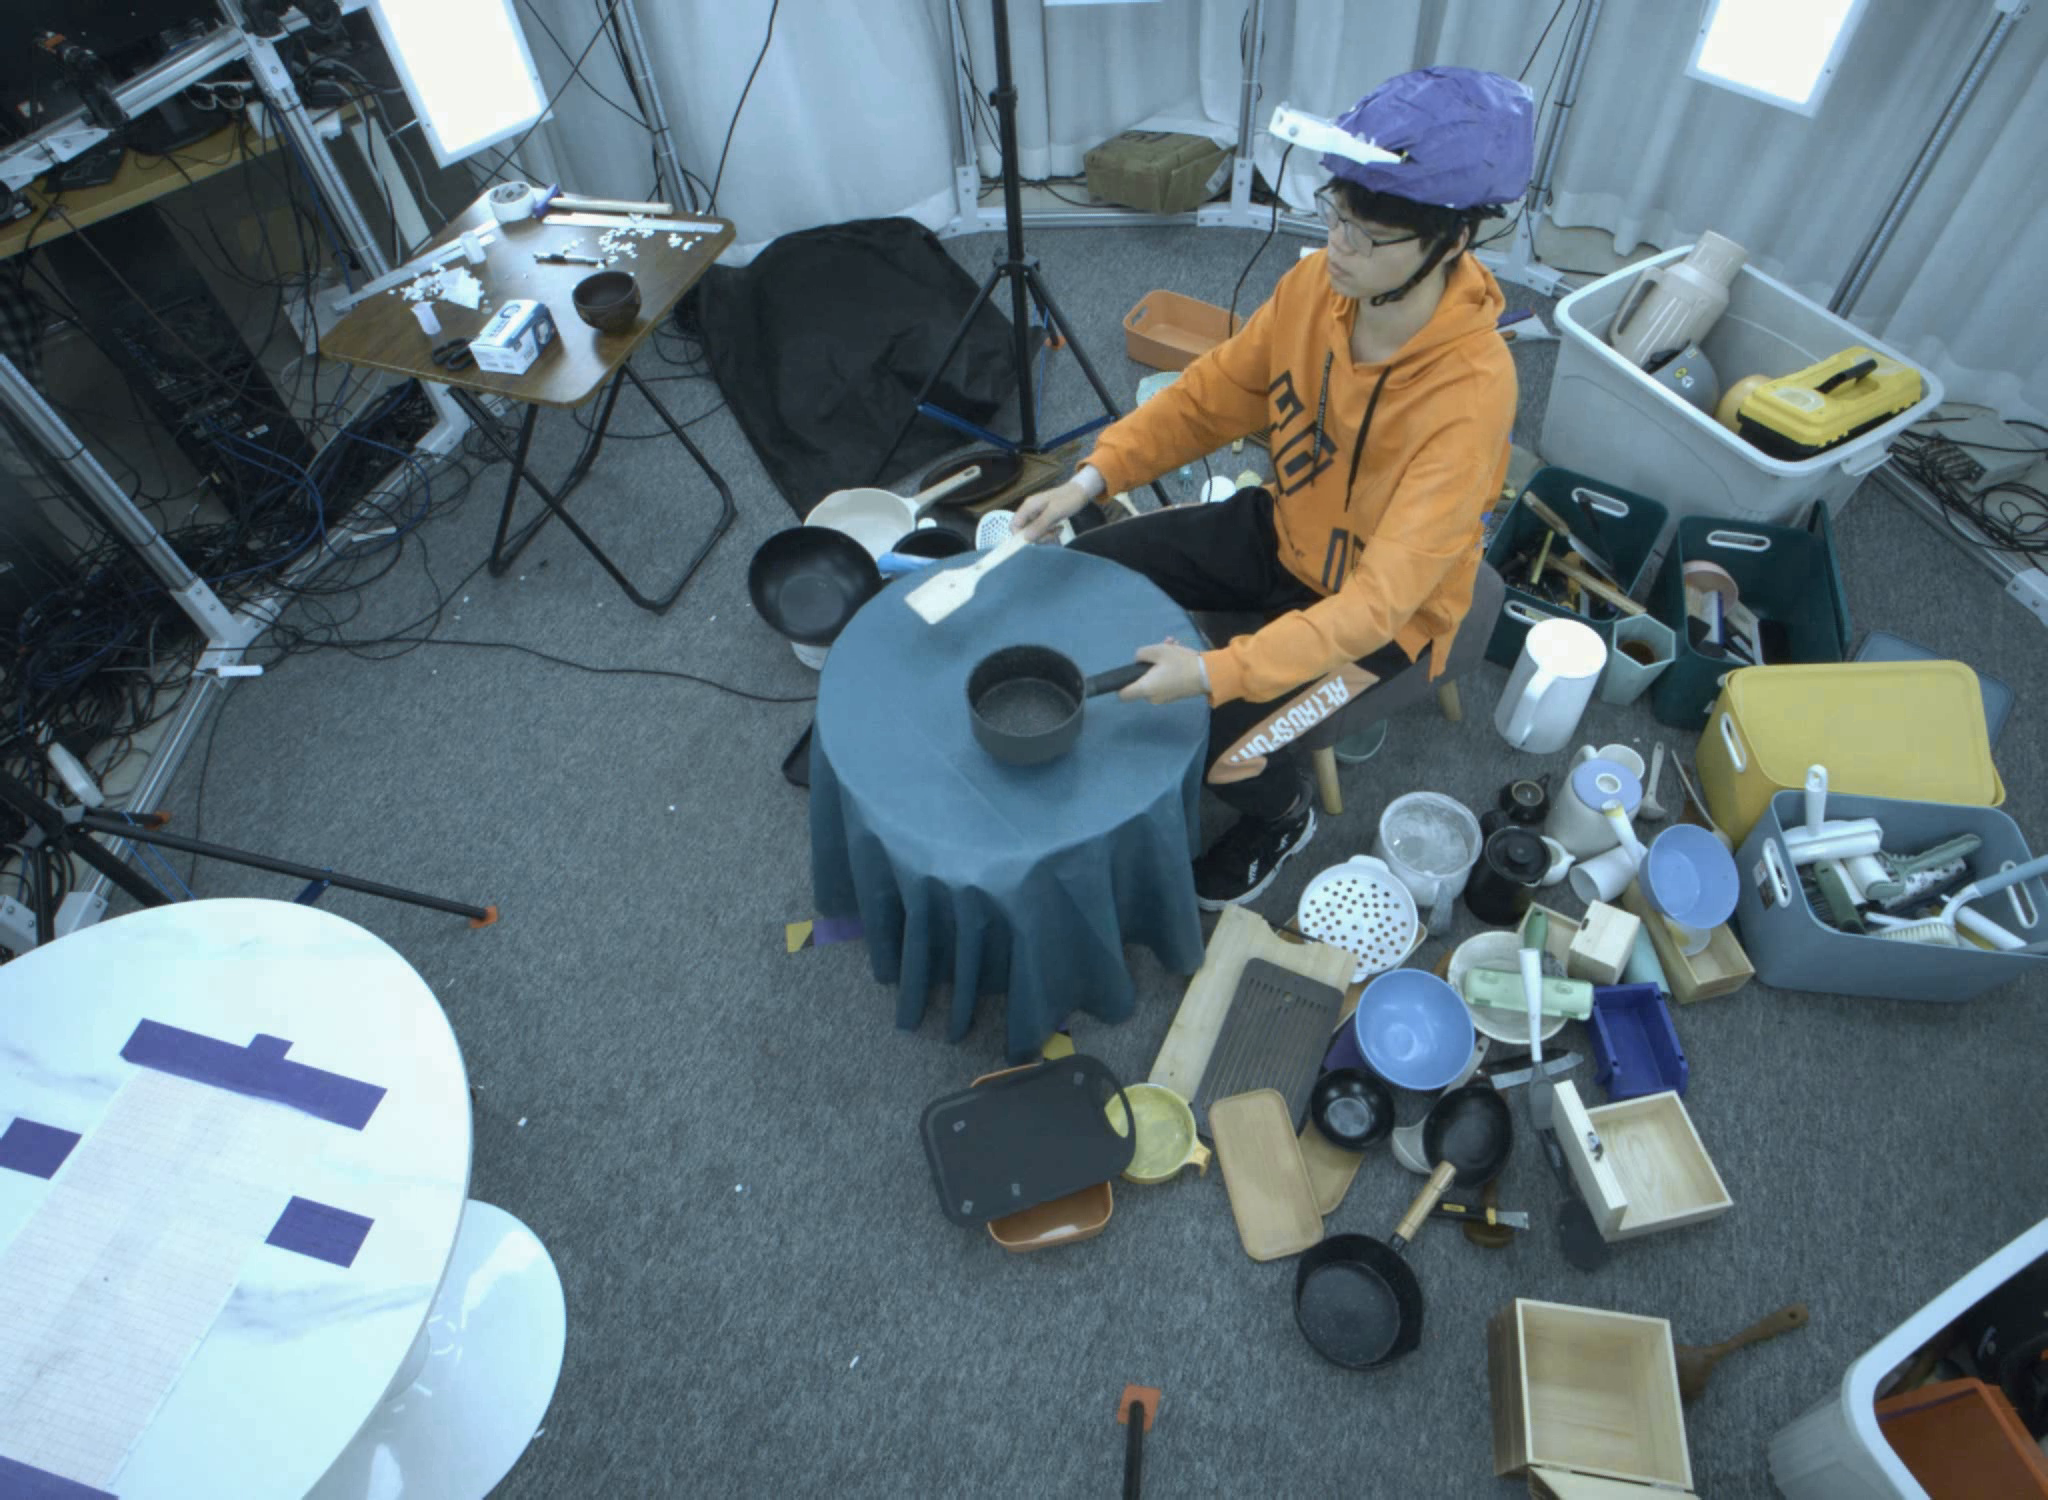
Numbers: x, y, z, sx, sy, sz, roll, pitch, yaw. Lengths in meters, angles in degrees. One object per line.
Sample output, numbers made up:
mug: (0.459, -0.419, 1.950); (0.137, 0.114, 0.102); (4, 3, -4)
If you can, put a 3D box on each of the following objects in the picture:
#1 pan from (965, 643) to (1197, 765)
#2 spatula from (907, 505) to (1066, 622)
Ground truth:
pan: (0.082, -0.078, 1.748); (0.330, 0.087, 0.169); (-9, 55, -6)
spatula: (-0.049, -0.297, 1.889); (0.295, 0.011, 0.071); (-38, 68, -19)
